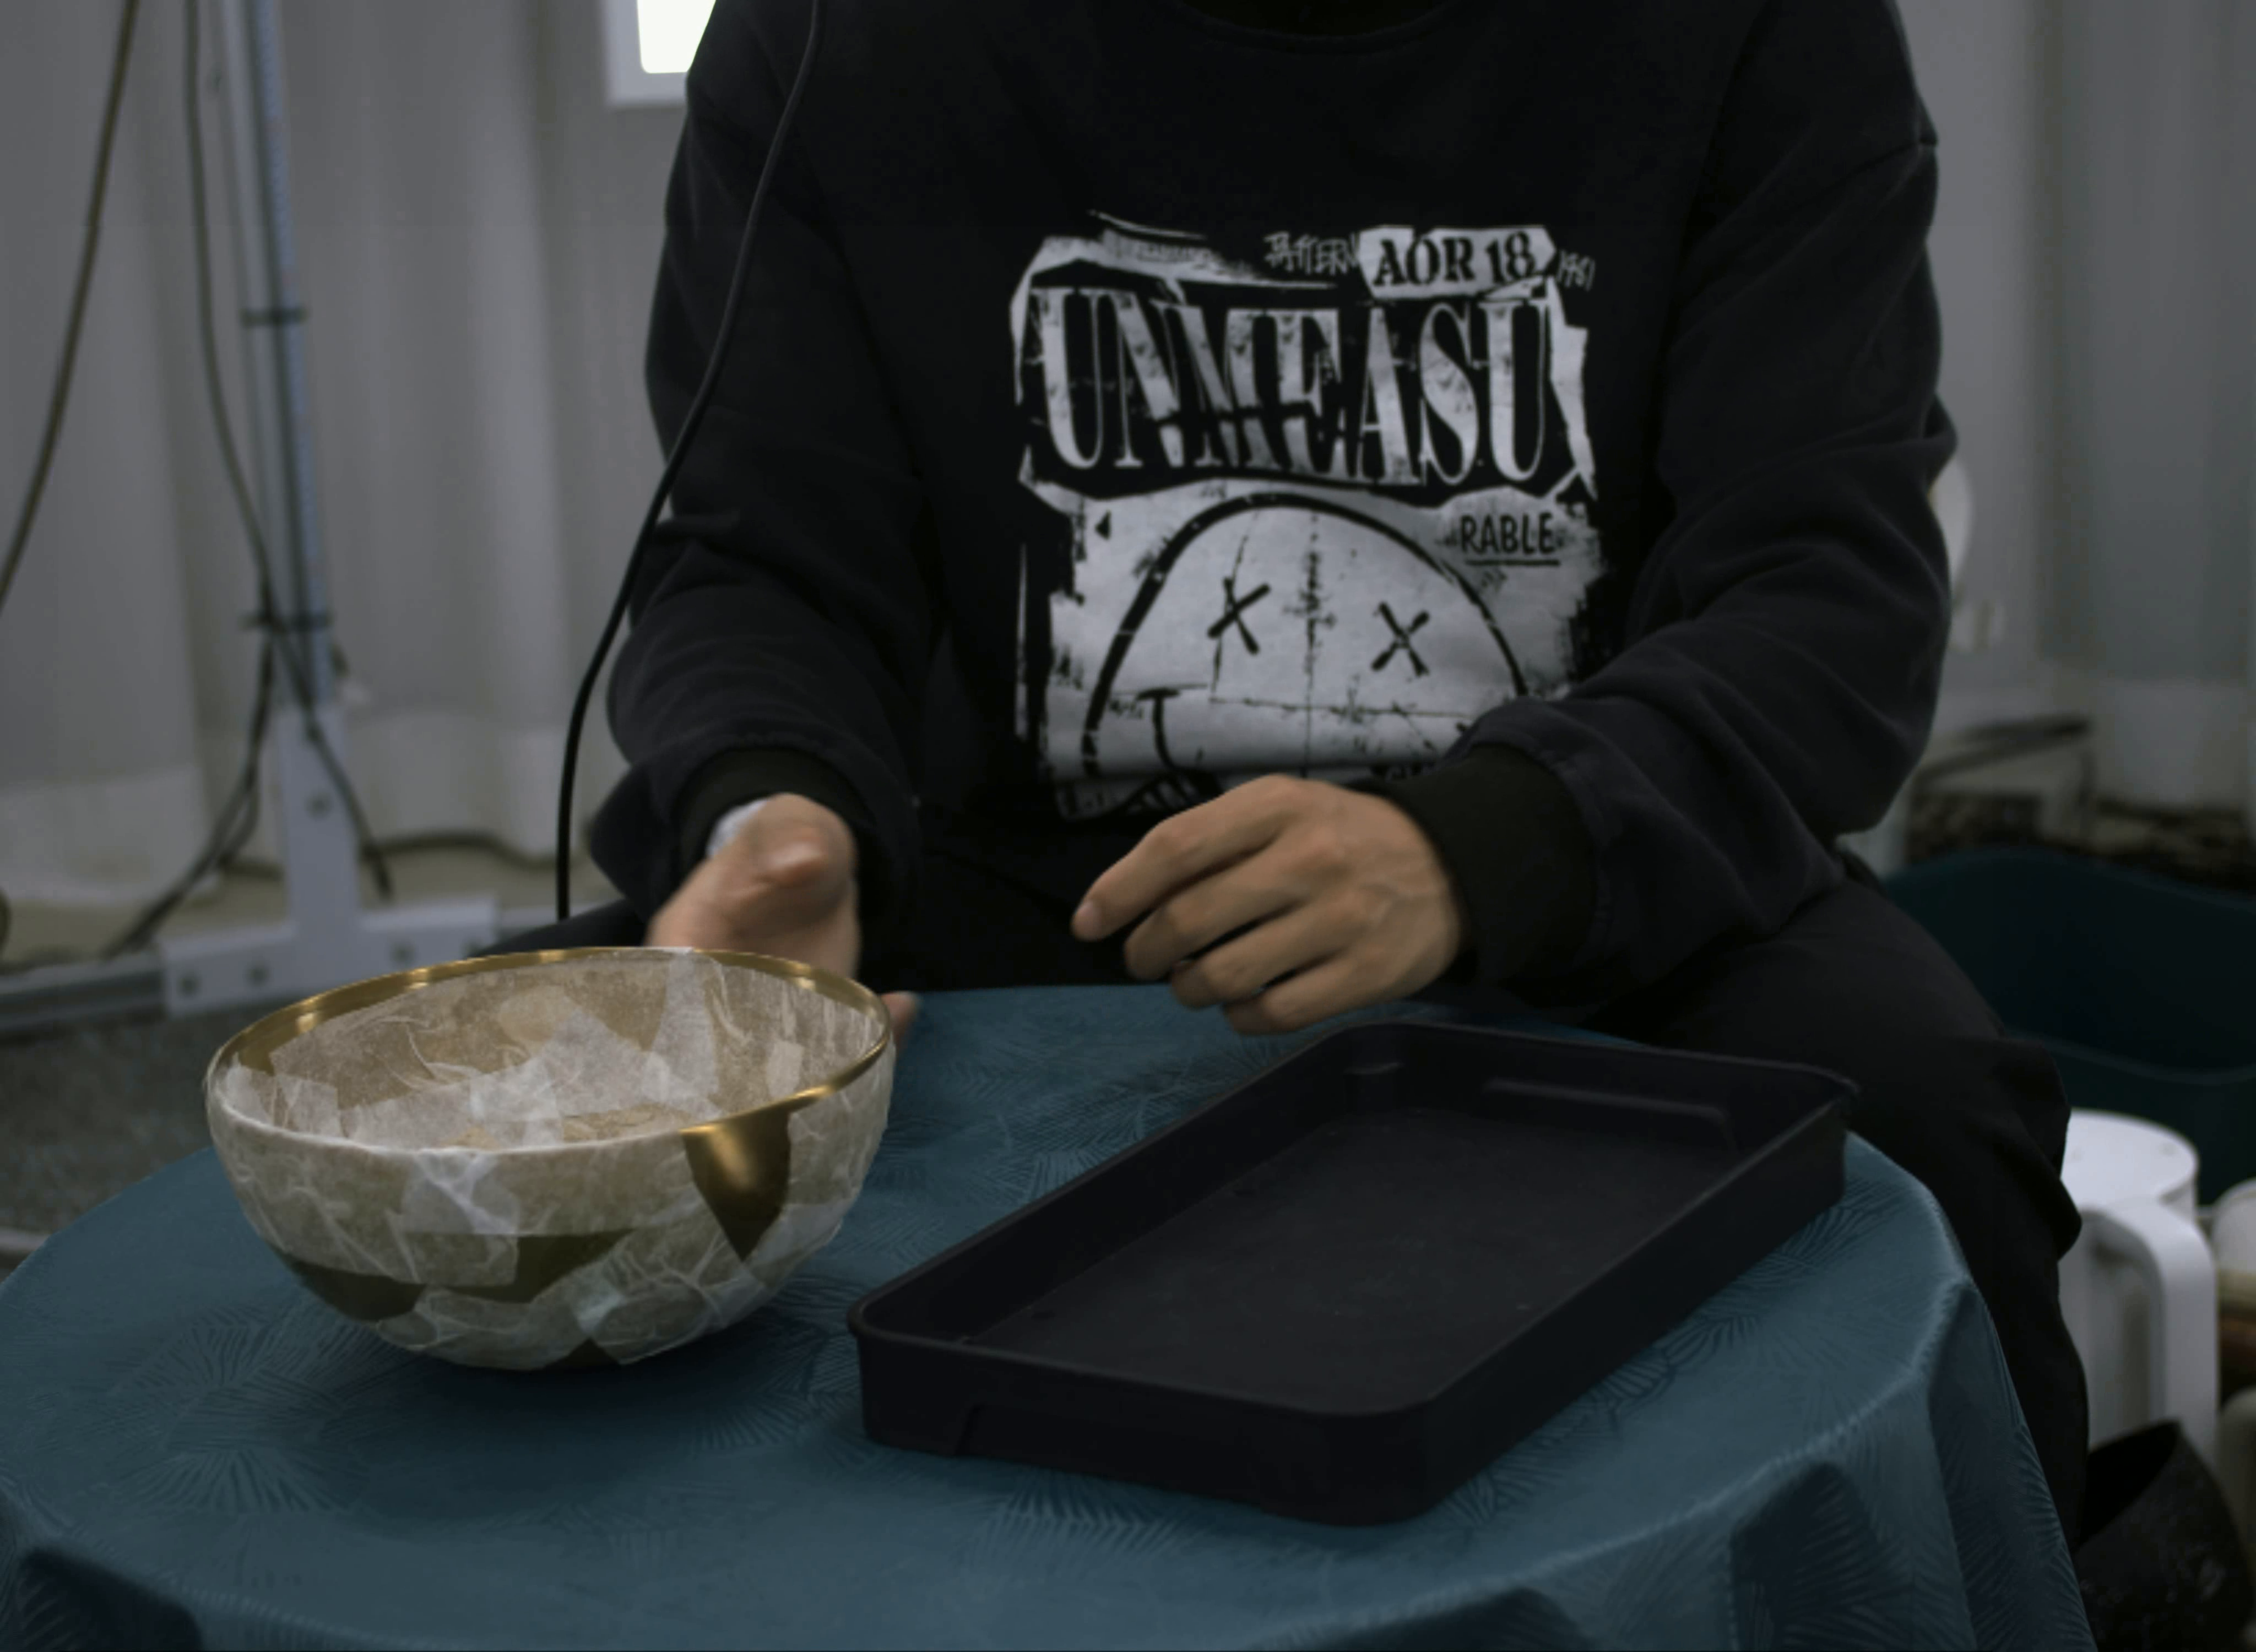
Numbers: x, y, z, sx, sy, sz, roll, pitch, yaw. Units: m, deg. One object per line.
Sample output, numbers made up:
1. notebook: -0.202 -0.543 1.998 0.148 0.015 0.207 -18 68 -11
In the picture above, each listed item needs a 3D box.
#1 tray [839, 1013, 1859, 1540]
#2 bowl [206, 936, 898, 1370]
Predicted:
1. tray: 0.072 0.124 1.600 0.185 0.037 0.318 6 18 31
2. bowl: -0.162 0.104 1.606 0.214 0.094 0.216 -4 14 1
